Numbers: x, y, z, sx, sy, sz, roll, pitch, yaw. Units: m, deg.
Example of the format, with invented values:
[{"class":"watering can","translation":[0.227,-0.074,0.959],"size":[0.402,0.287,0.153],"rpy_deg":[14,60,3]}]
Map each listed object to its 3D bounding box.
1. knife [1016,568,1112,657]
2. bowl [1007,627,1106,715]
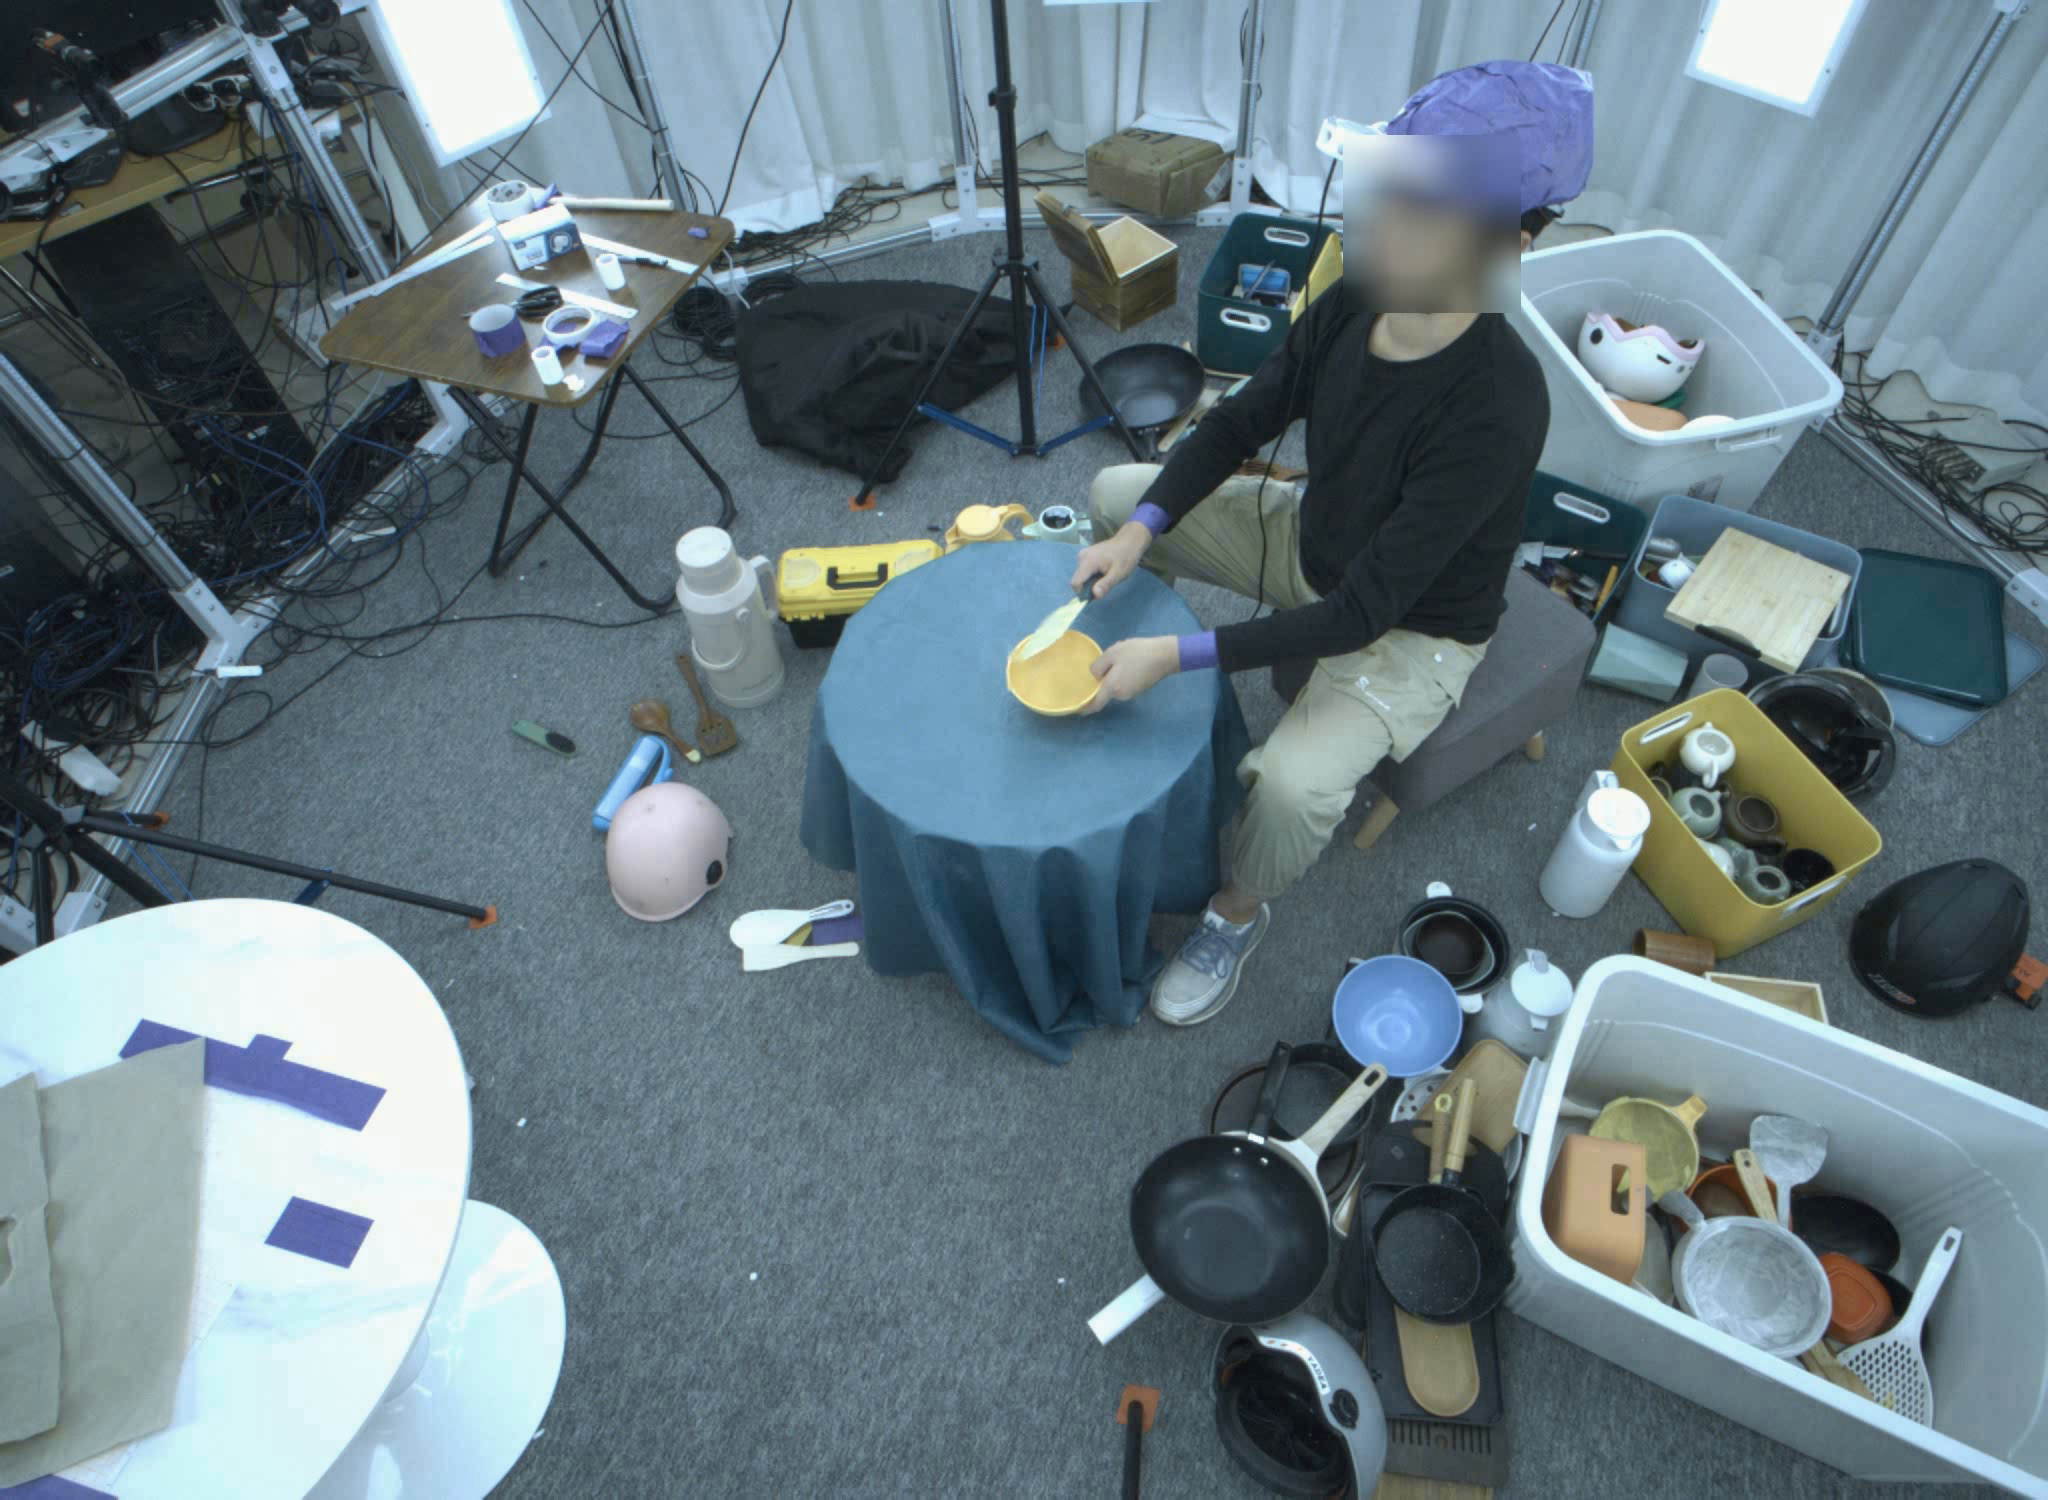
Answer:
[{"class":"knife","translation":[0.061,-0.203,1.809],"size":[0.079,0.027,0.291],"rpy_deg":[-13,23,35]},{"class":"bowl","translation":[0.049,-0.106,1.805],"size":[0.145,0.061,0.144],"rpy_deg":[-1,62,2]}]
